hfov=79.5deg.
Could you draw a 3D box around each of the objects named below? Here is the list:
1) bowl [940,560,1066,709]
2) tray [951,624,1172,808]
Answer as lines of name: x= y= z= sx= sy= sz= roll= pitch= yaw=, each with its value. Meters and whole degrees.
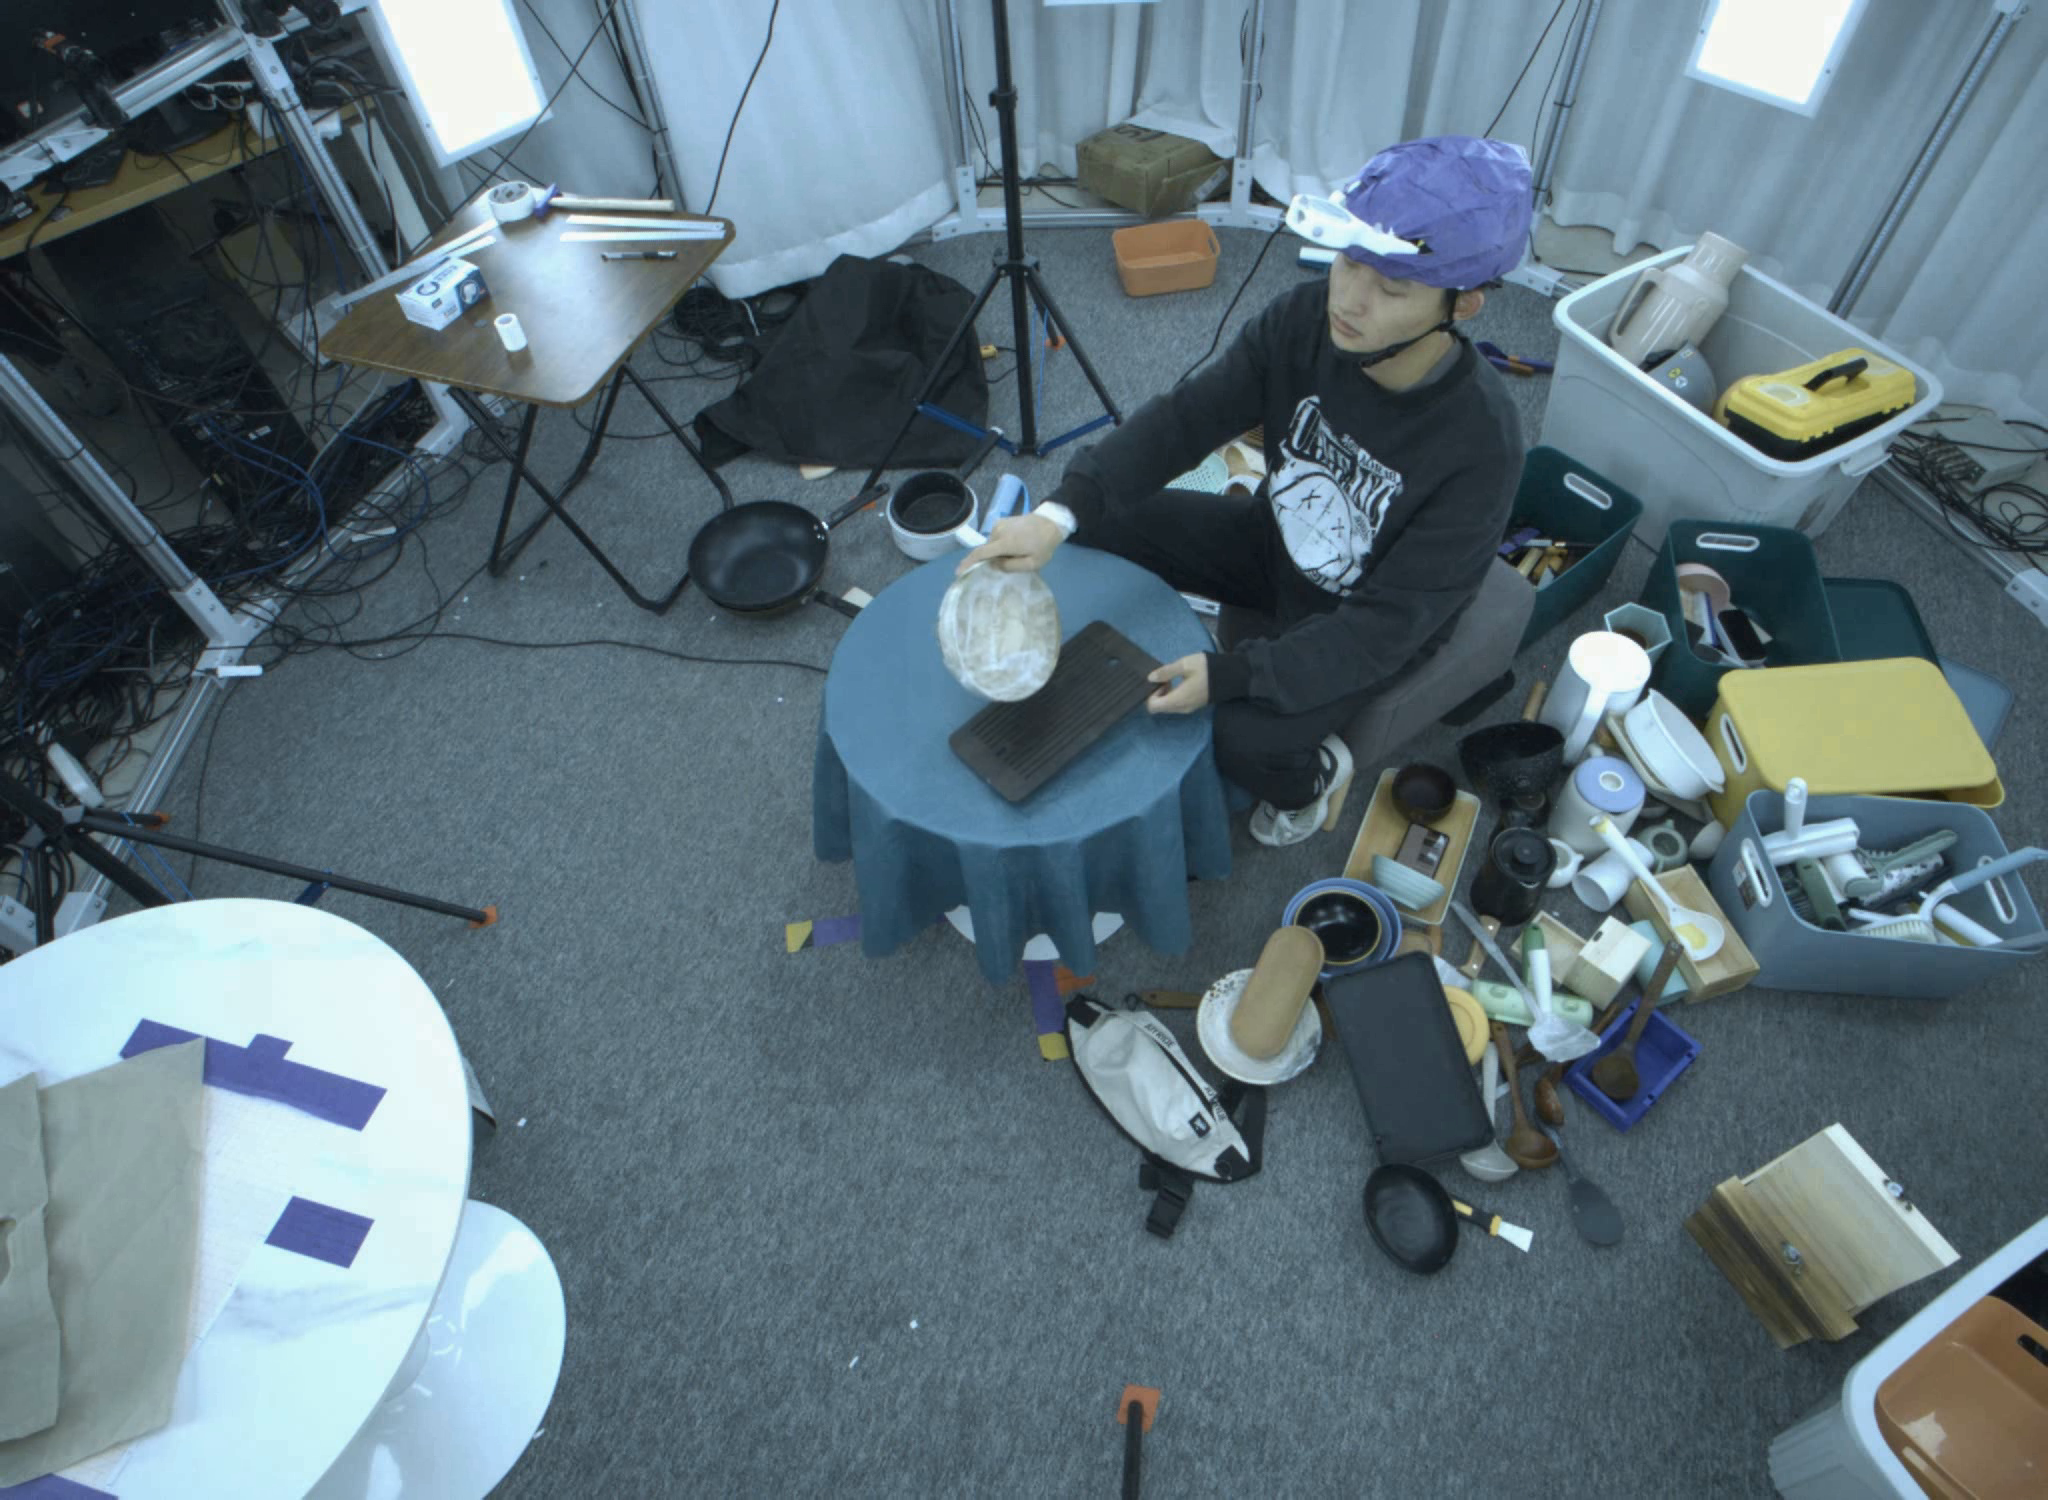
bowl: x=-0.044 y=-0.160 z=1.730 sx=0.092 sy=0.219 sz=0.215 roll=1 pitch=47 yaw=46
tray: x=0.055 y=-0.053 z=1.791 sx=0.307 sy=0.019 sz=0.166 roll=-39 pitch=56 yaw=-15
